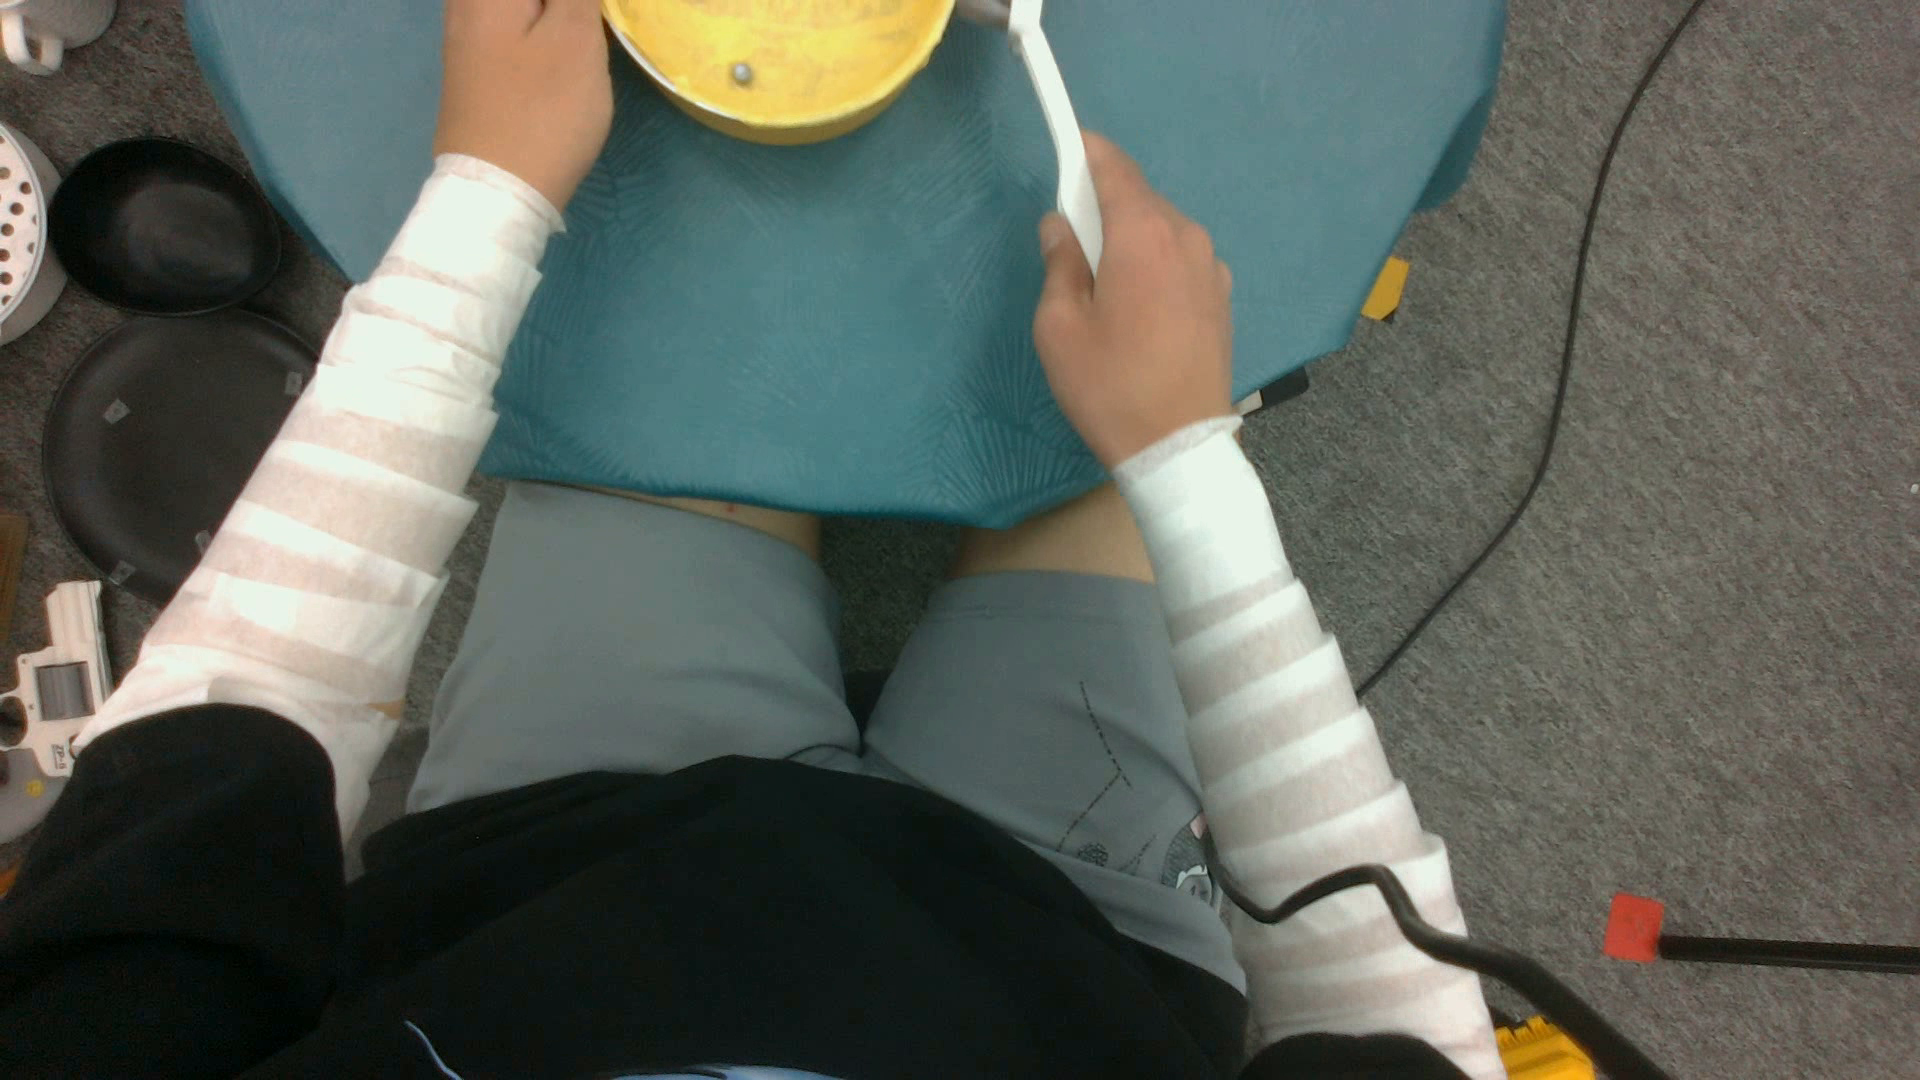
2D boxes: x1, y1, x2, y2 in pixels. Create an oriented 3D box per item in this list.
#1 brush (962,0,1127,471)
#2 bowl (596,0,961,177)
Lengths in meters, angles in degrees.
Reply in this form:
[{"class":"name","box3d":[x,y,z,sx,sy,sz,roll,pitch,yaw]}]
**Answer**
[{"class":"brush","box3d":[0.035,-0.148,0.602,0.050,0.034,0.243,-8,94,2]},{"class":"bowl","box3d":[-0.082,-0.247,0.601,0.153,0.074,0.179,-33,94,0]}]
